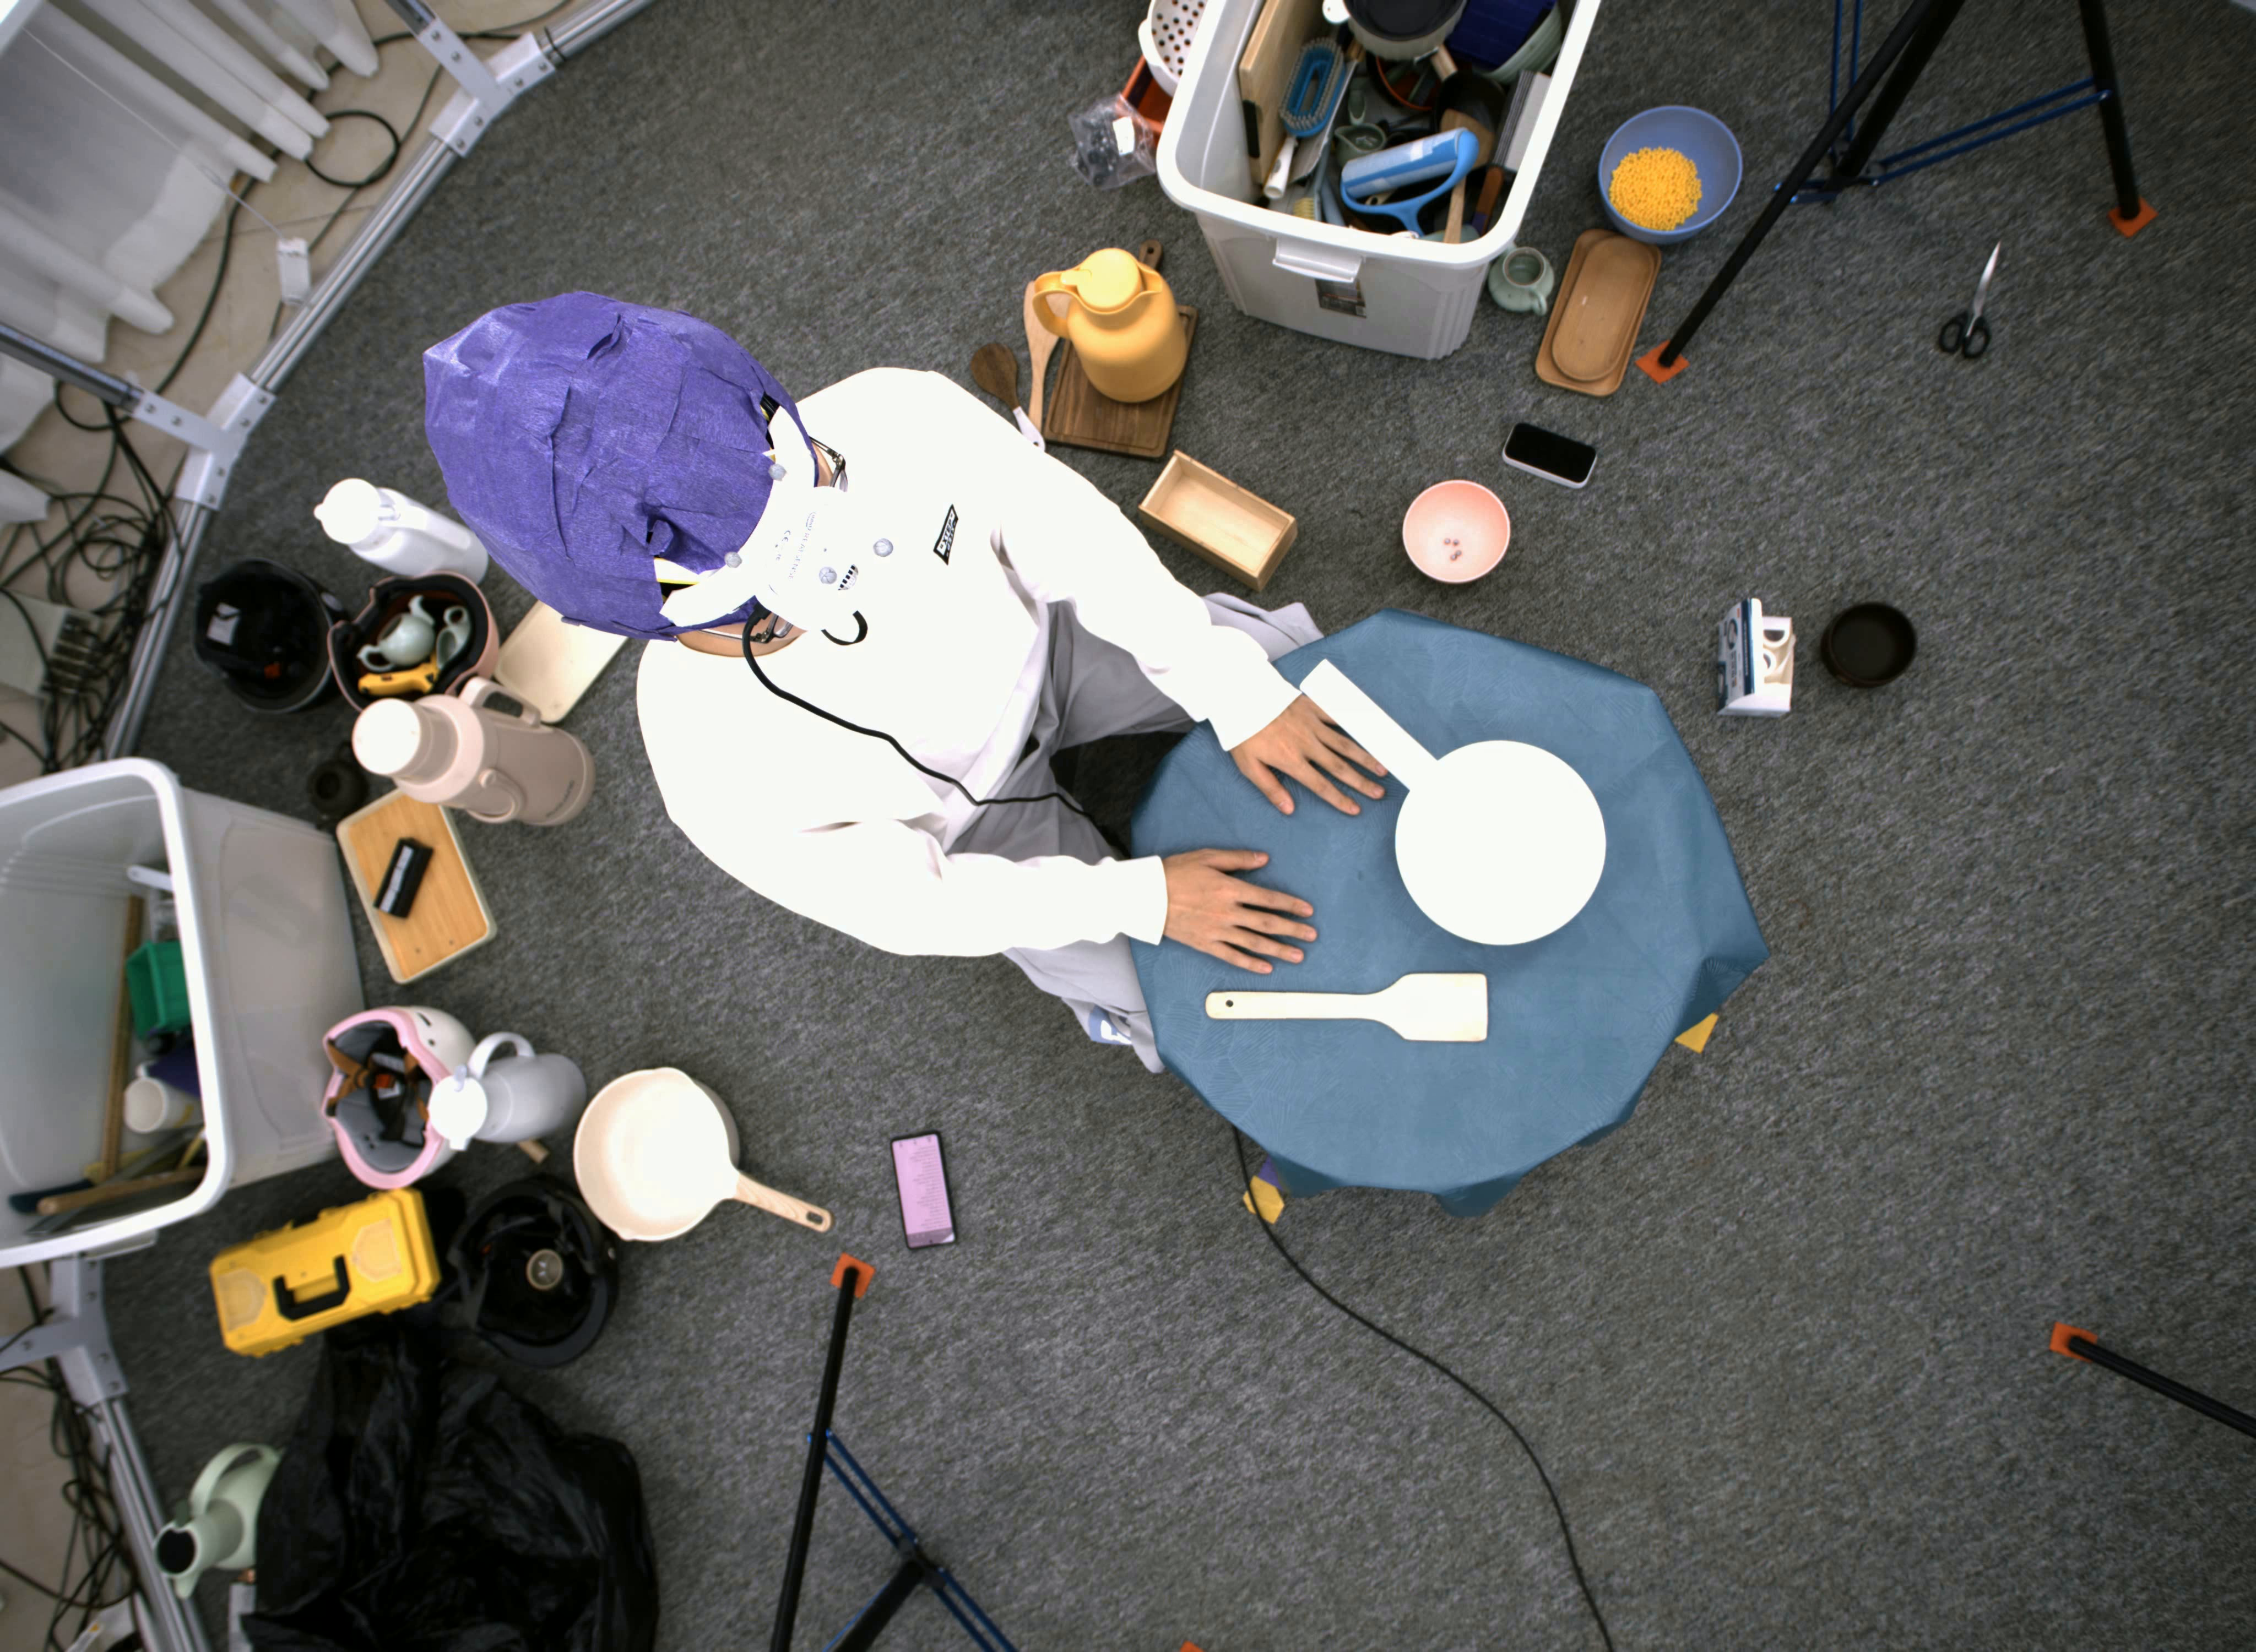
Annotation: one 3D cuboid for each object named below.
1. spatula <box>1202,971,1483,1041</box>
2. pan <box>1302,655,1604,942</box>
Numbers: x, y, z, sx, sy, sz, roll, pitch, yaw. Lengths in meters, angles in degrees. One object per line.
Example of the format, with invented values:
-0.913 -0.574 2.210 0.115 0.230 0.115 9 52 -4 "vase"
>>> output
0.224 0.187 1.457 0.294 0.010 0.072 -1 88 11 "spatula"
0.319 -0.035 1.407 0.353 0.102 0.202 44 95 11 "pan"
